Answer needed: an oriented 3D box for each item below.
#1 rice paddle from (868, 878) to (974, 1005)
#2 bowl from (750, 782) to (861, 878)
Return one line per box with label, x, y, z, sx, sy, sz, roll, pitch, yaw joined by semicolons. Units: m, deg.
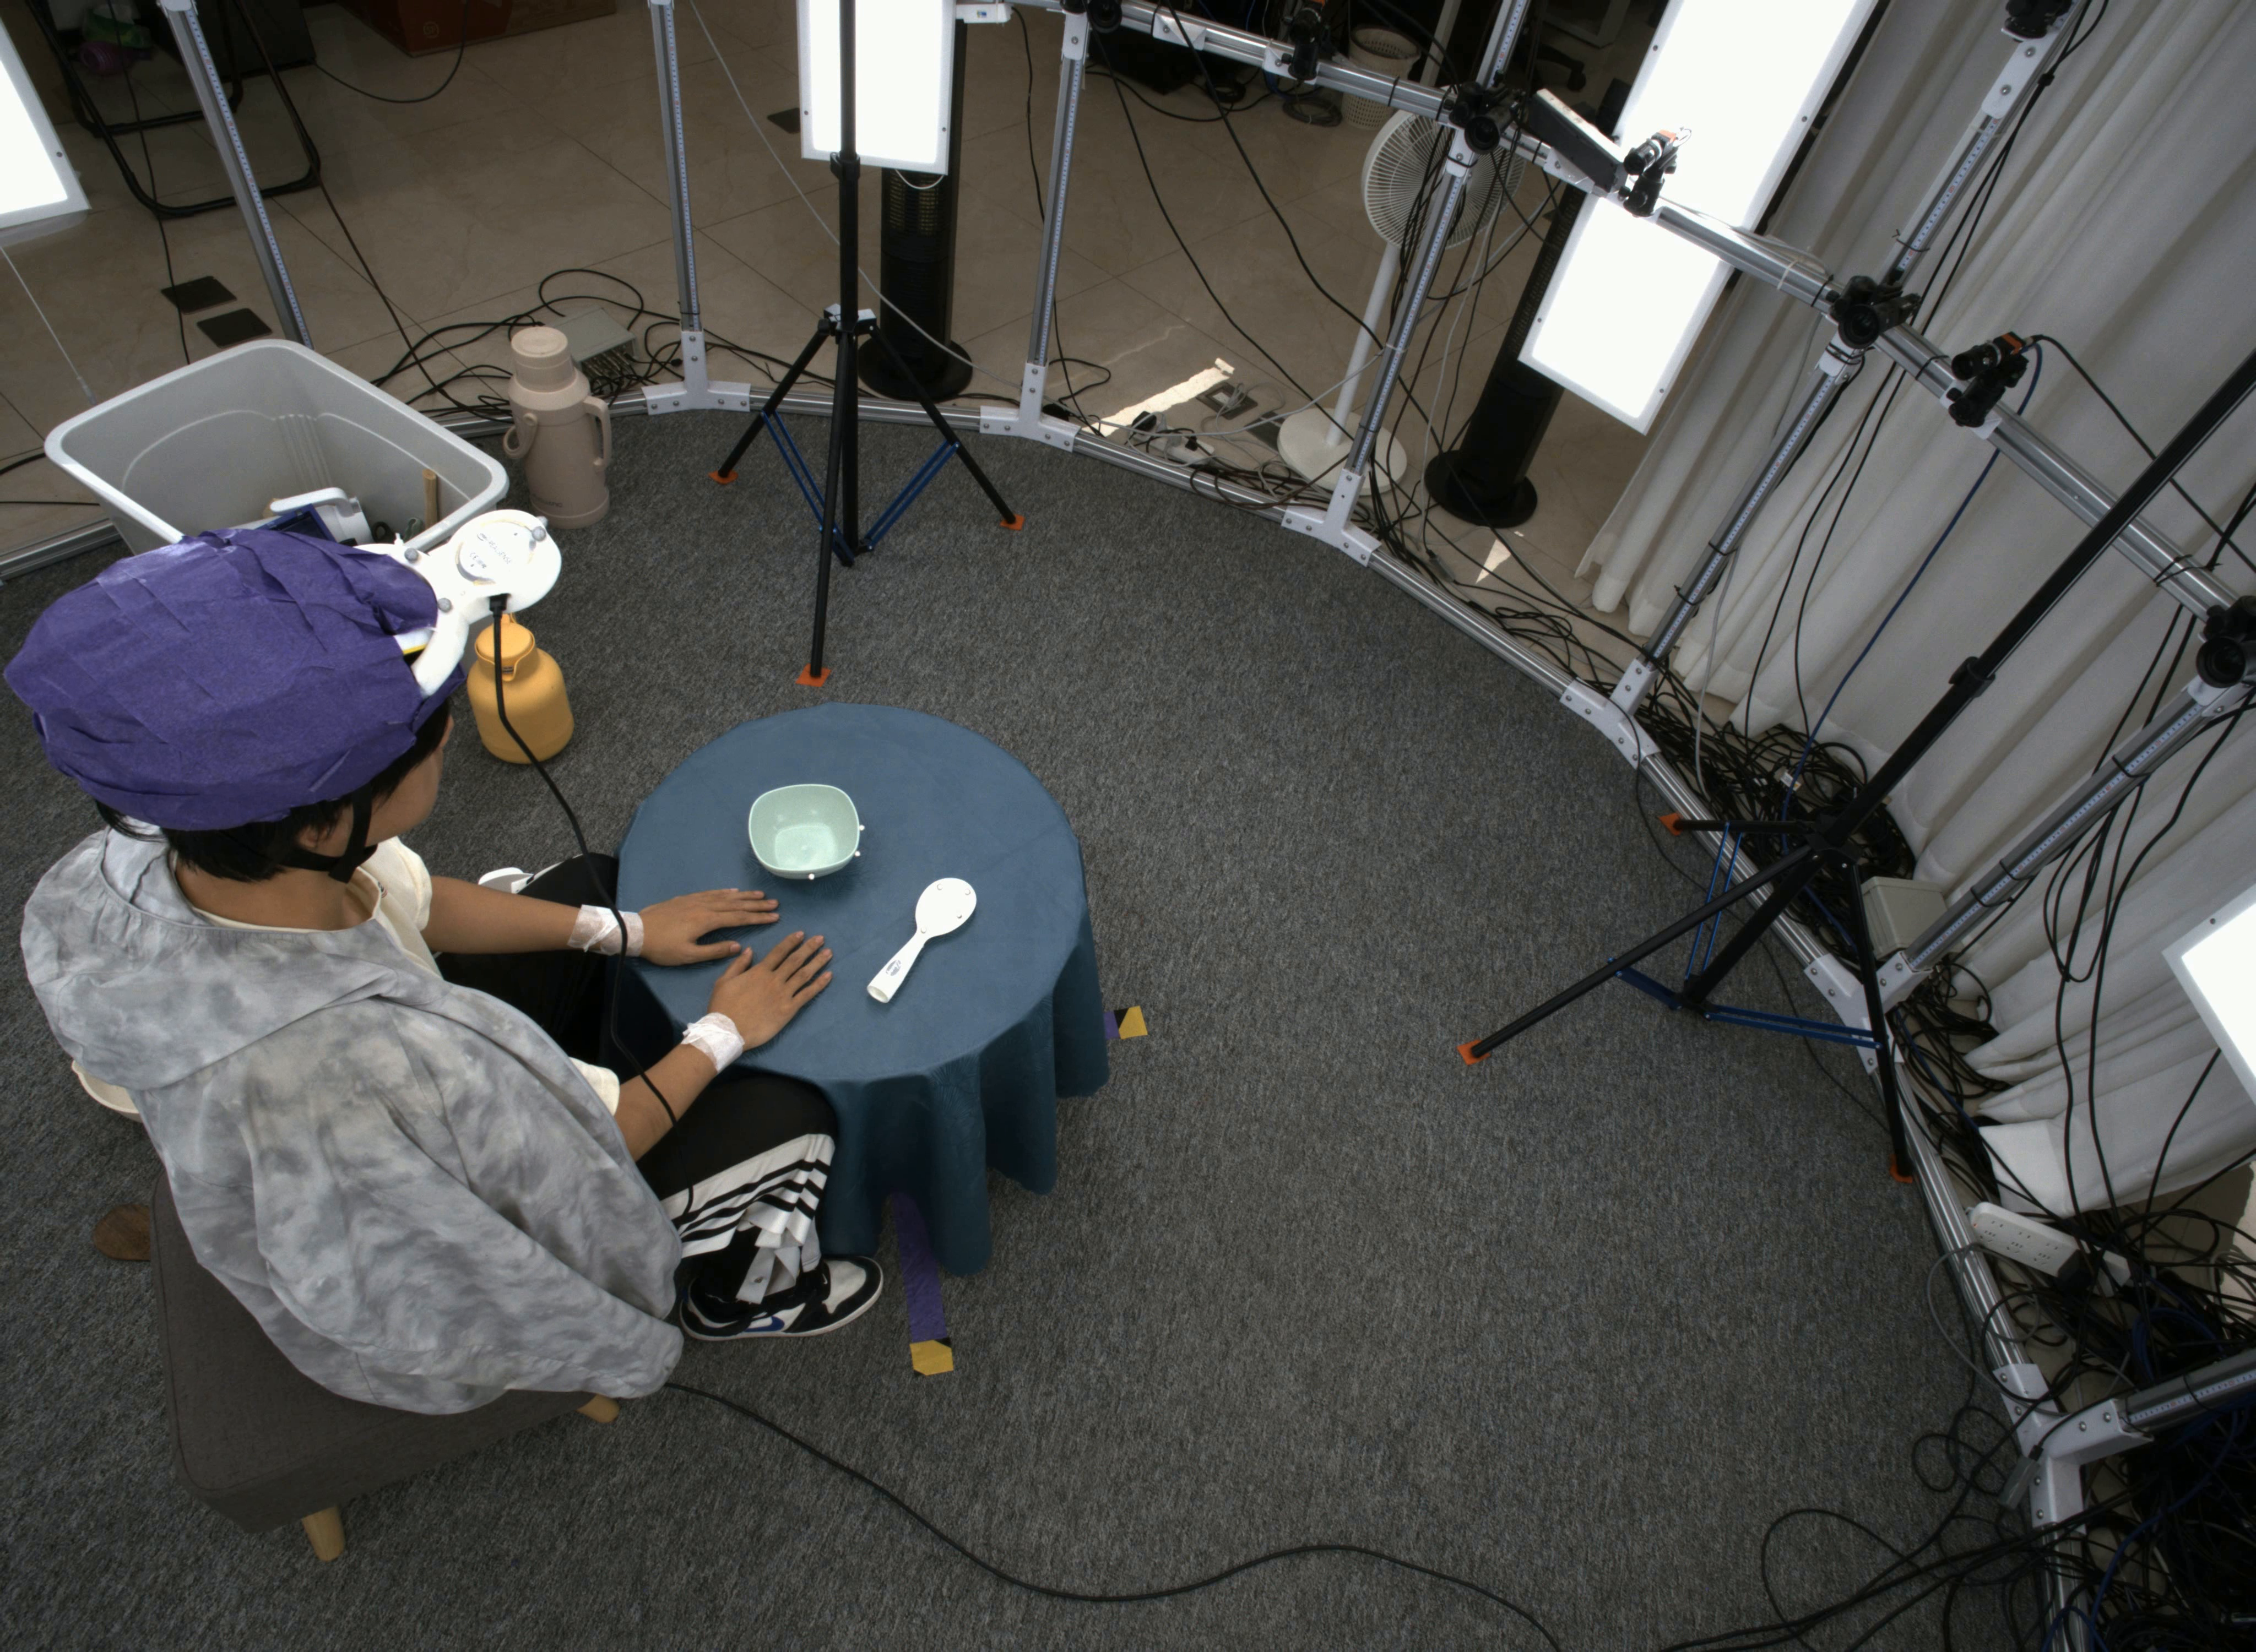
rice paddle;-0.261;0.137;1.645;0.068;0.030;0.204;28;53;6
bowl;-0.417;0.015;1.678;0.151;0.059;0.149;9;53;-11
